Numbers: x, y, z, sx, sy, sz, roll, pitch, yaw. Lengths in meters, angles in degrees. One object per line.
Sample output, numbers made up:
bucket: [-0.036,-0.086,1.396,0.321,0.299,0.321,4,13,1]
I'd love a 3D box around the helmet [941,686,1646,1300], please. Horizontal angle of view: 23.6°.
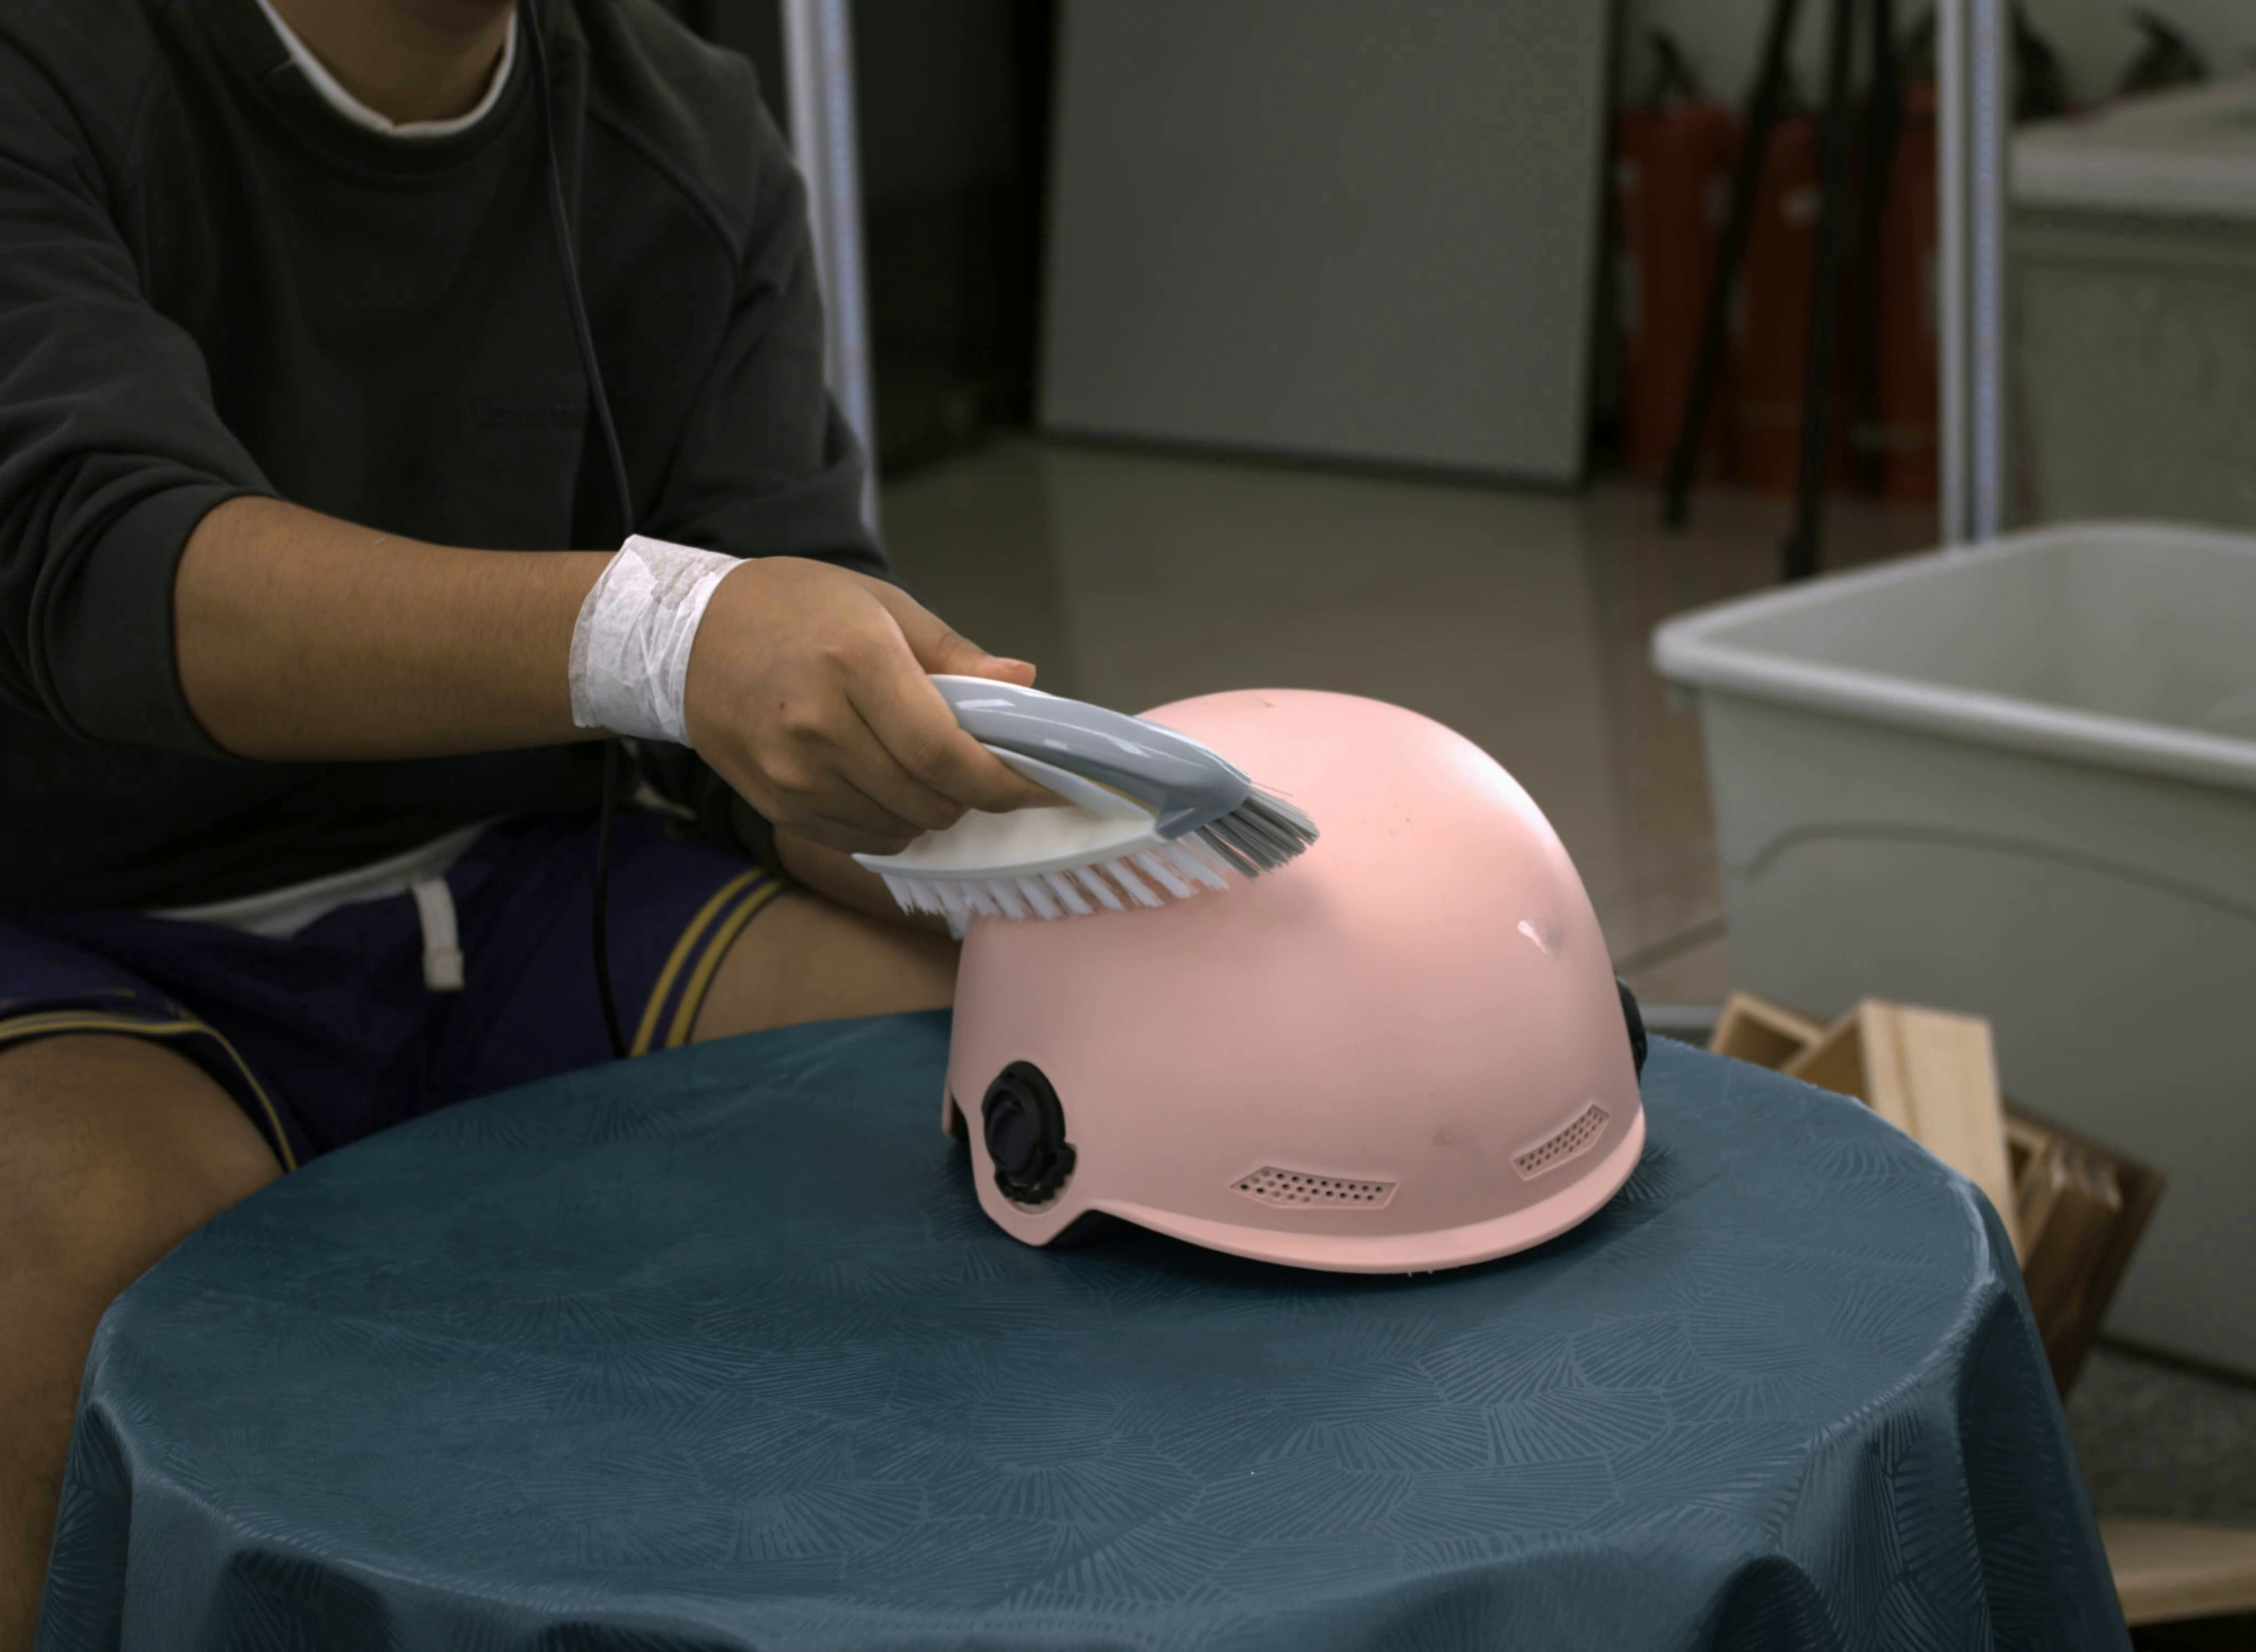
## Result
helmet: [0.053,0.042,1.758,0.229,0.160,0.268,-8,19,-21]

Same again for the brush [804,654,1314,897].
brush: [-0.029,-0.023,1.677,0.177,0.062,0.093,3,-27,44]
